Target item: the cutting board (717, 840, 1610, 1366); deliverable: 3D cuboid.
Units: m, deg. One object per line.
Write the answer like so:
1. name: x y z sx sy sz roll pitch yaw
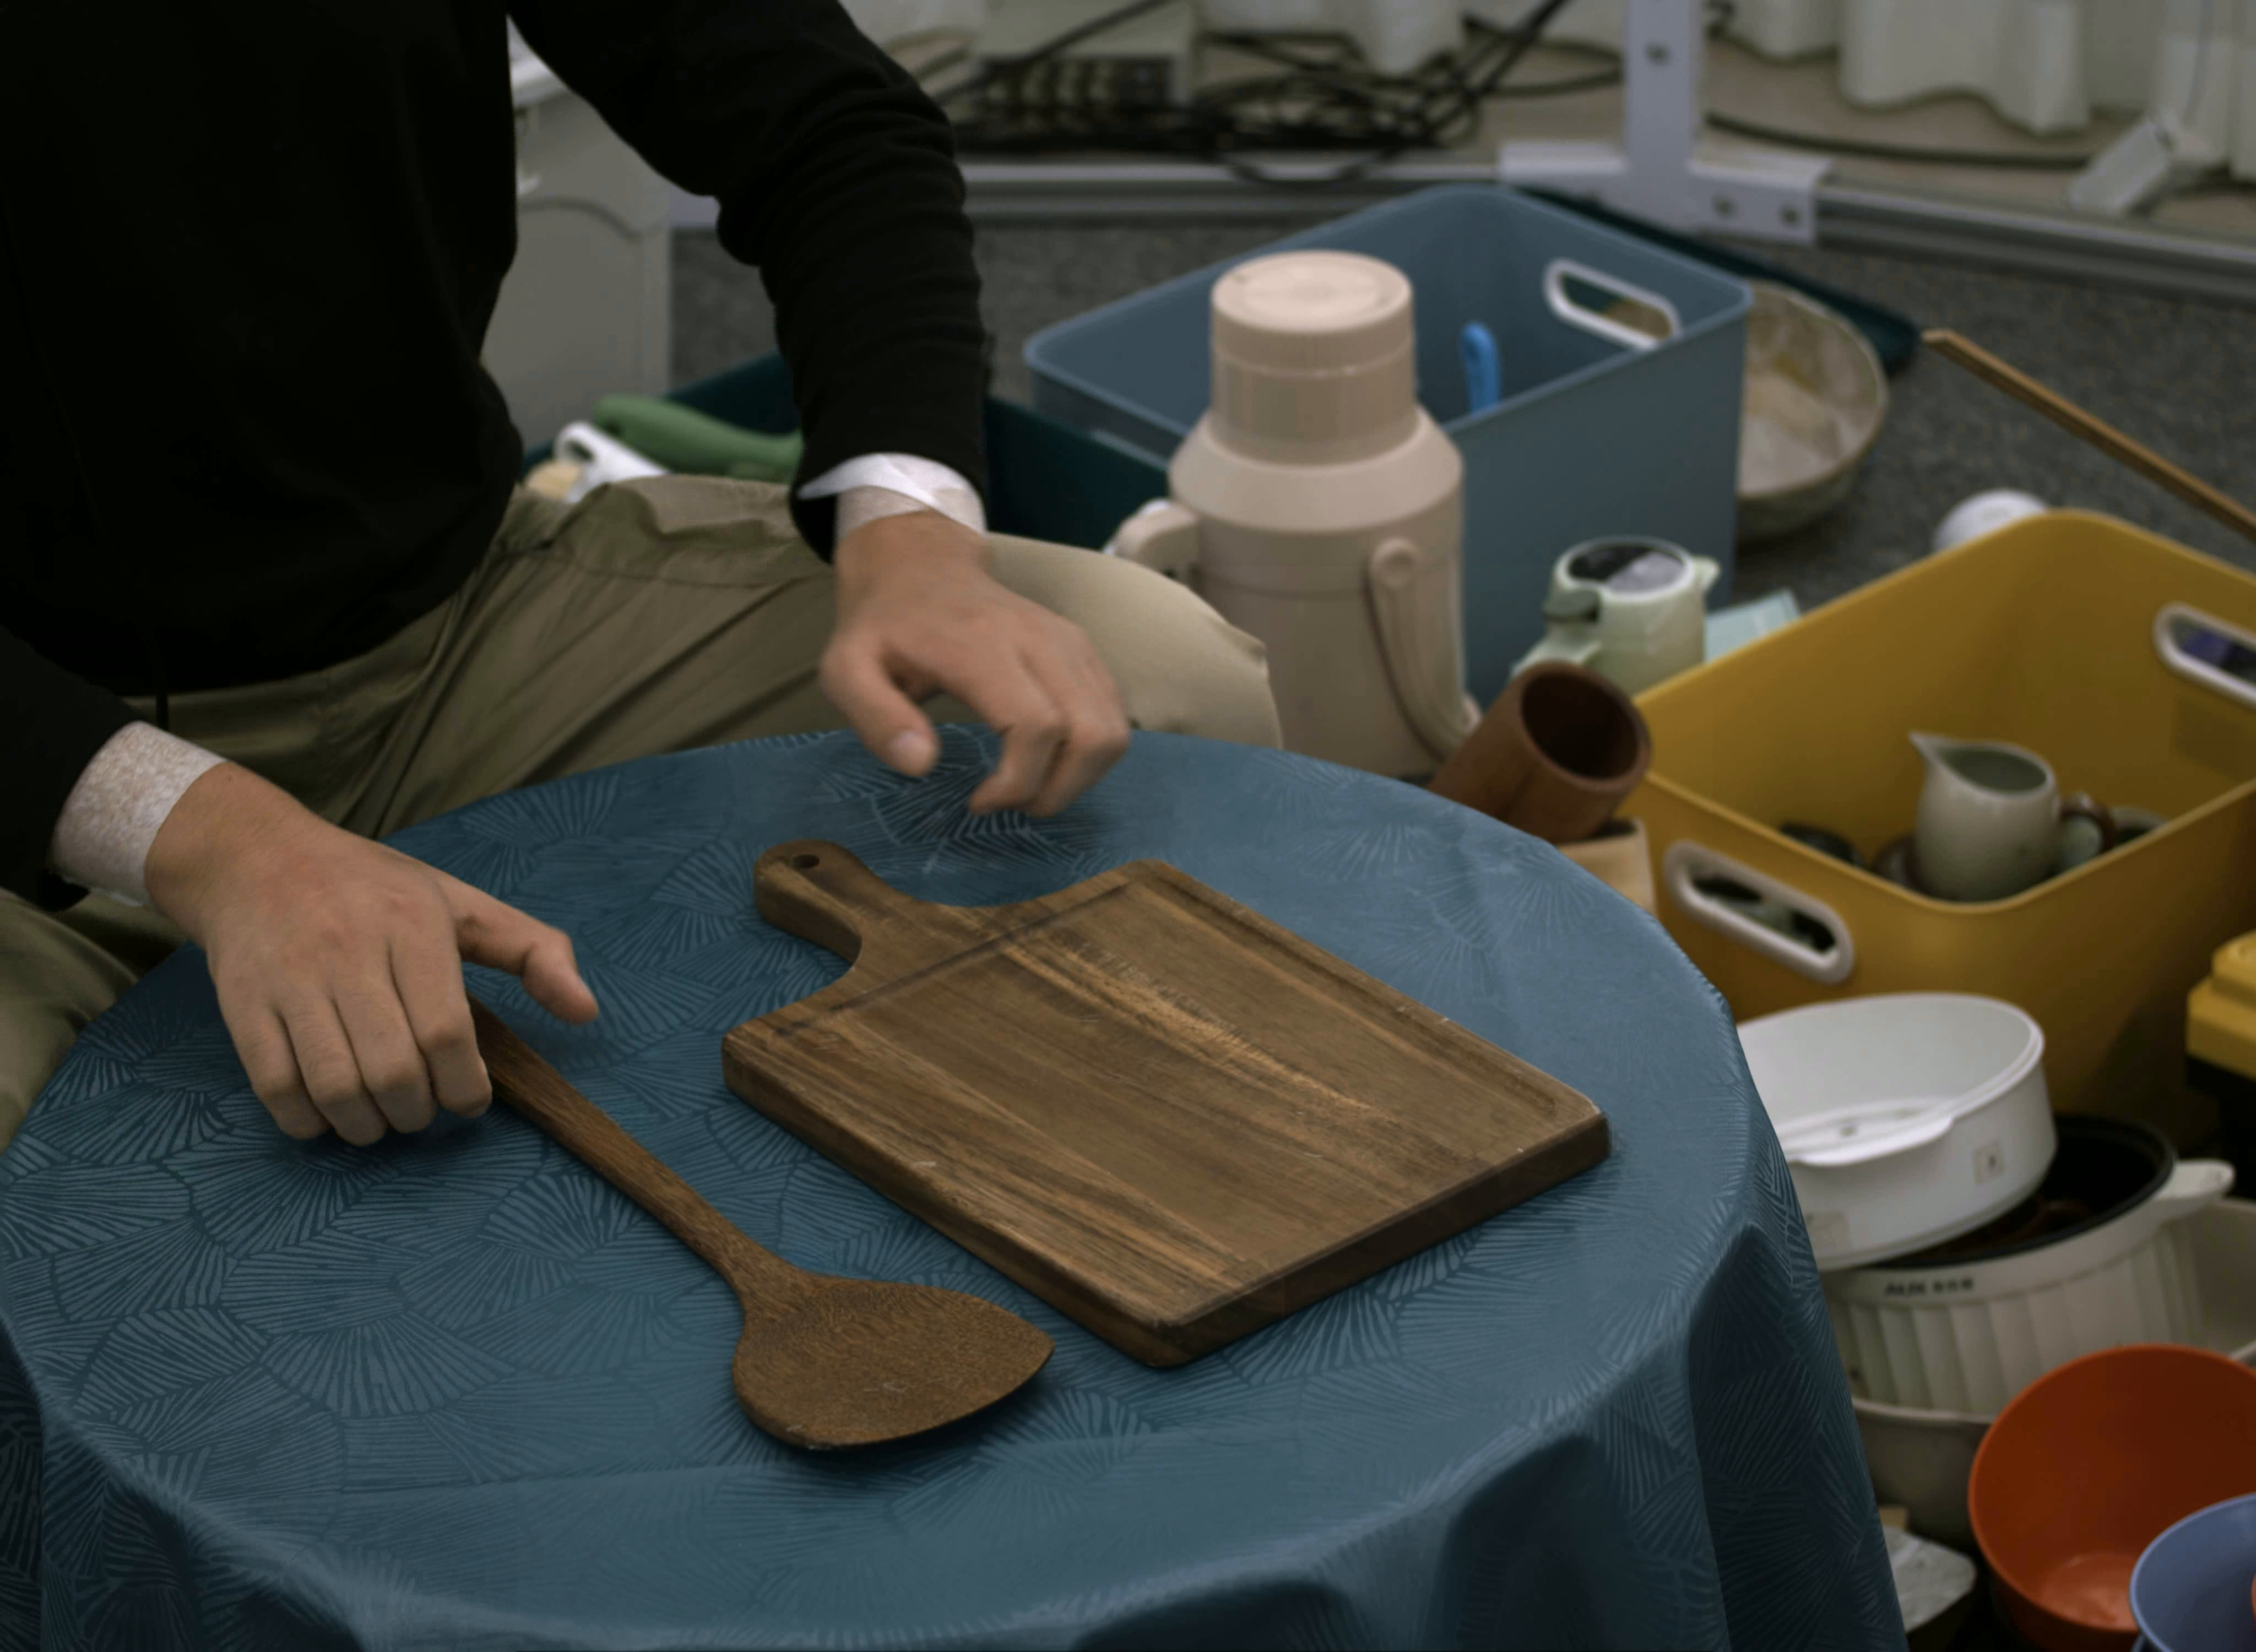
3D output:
1. cutting board: -0.021 0.074 1.933 0.203 0.023 0.352 -22 33 -33

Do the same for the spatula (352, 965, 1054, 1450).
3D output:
1. spatula: -0.162 0.118 1.869 0.097 0.015 0.387 -19 31 -30
